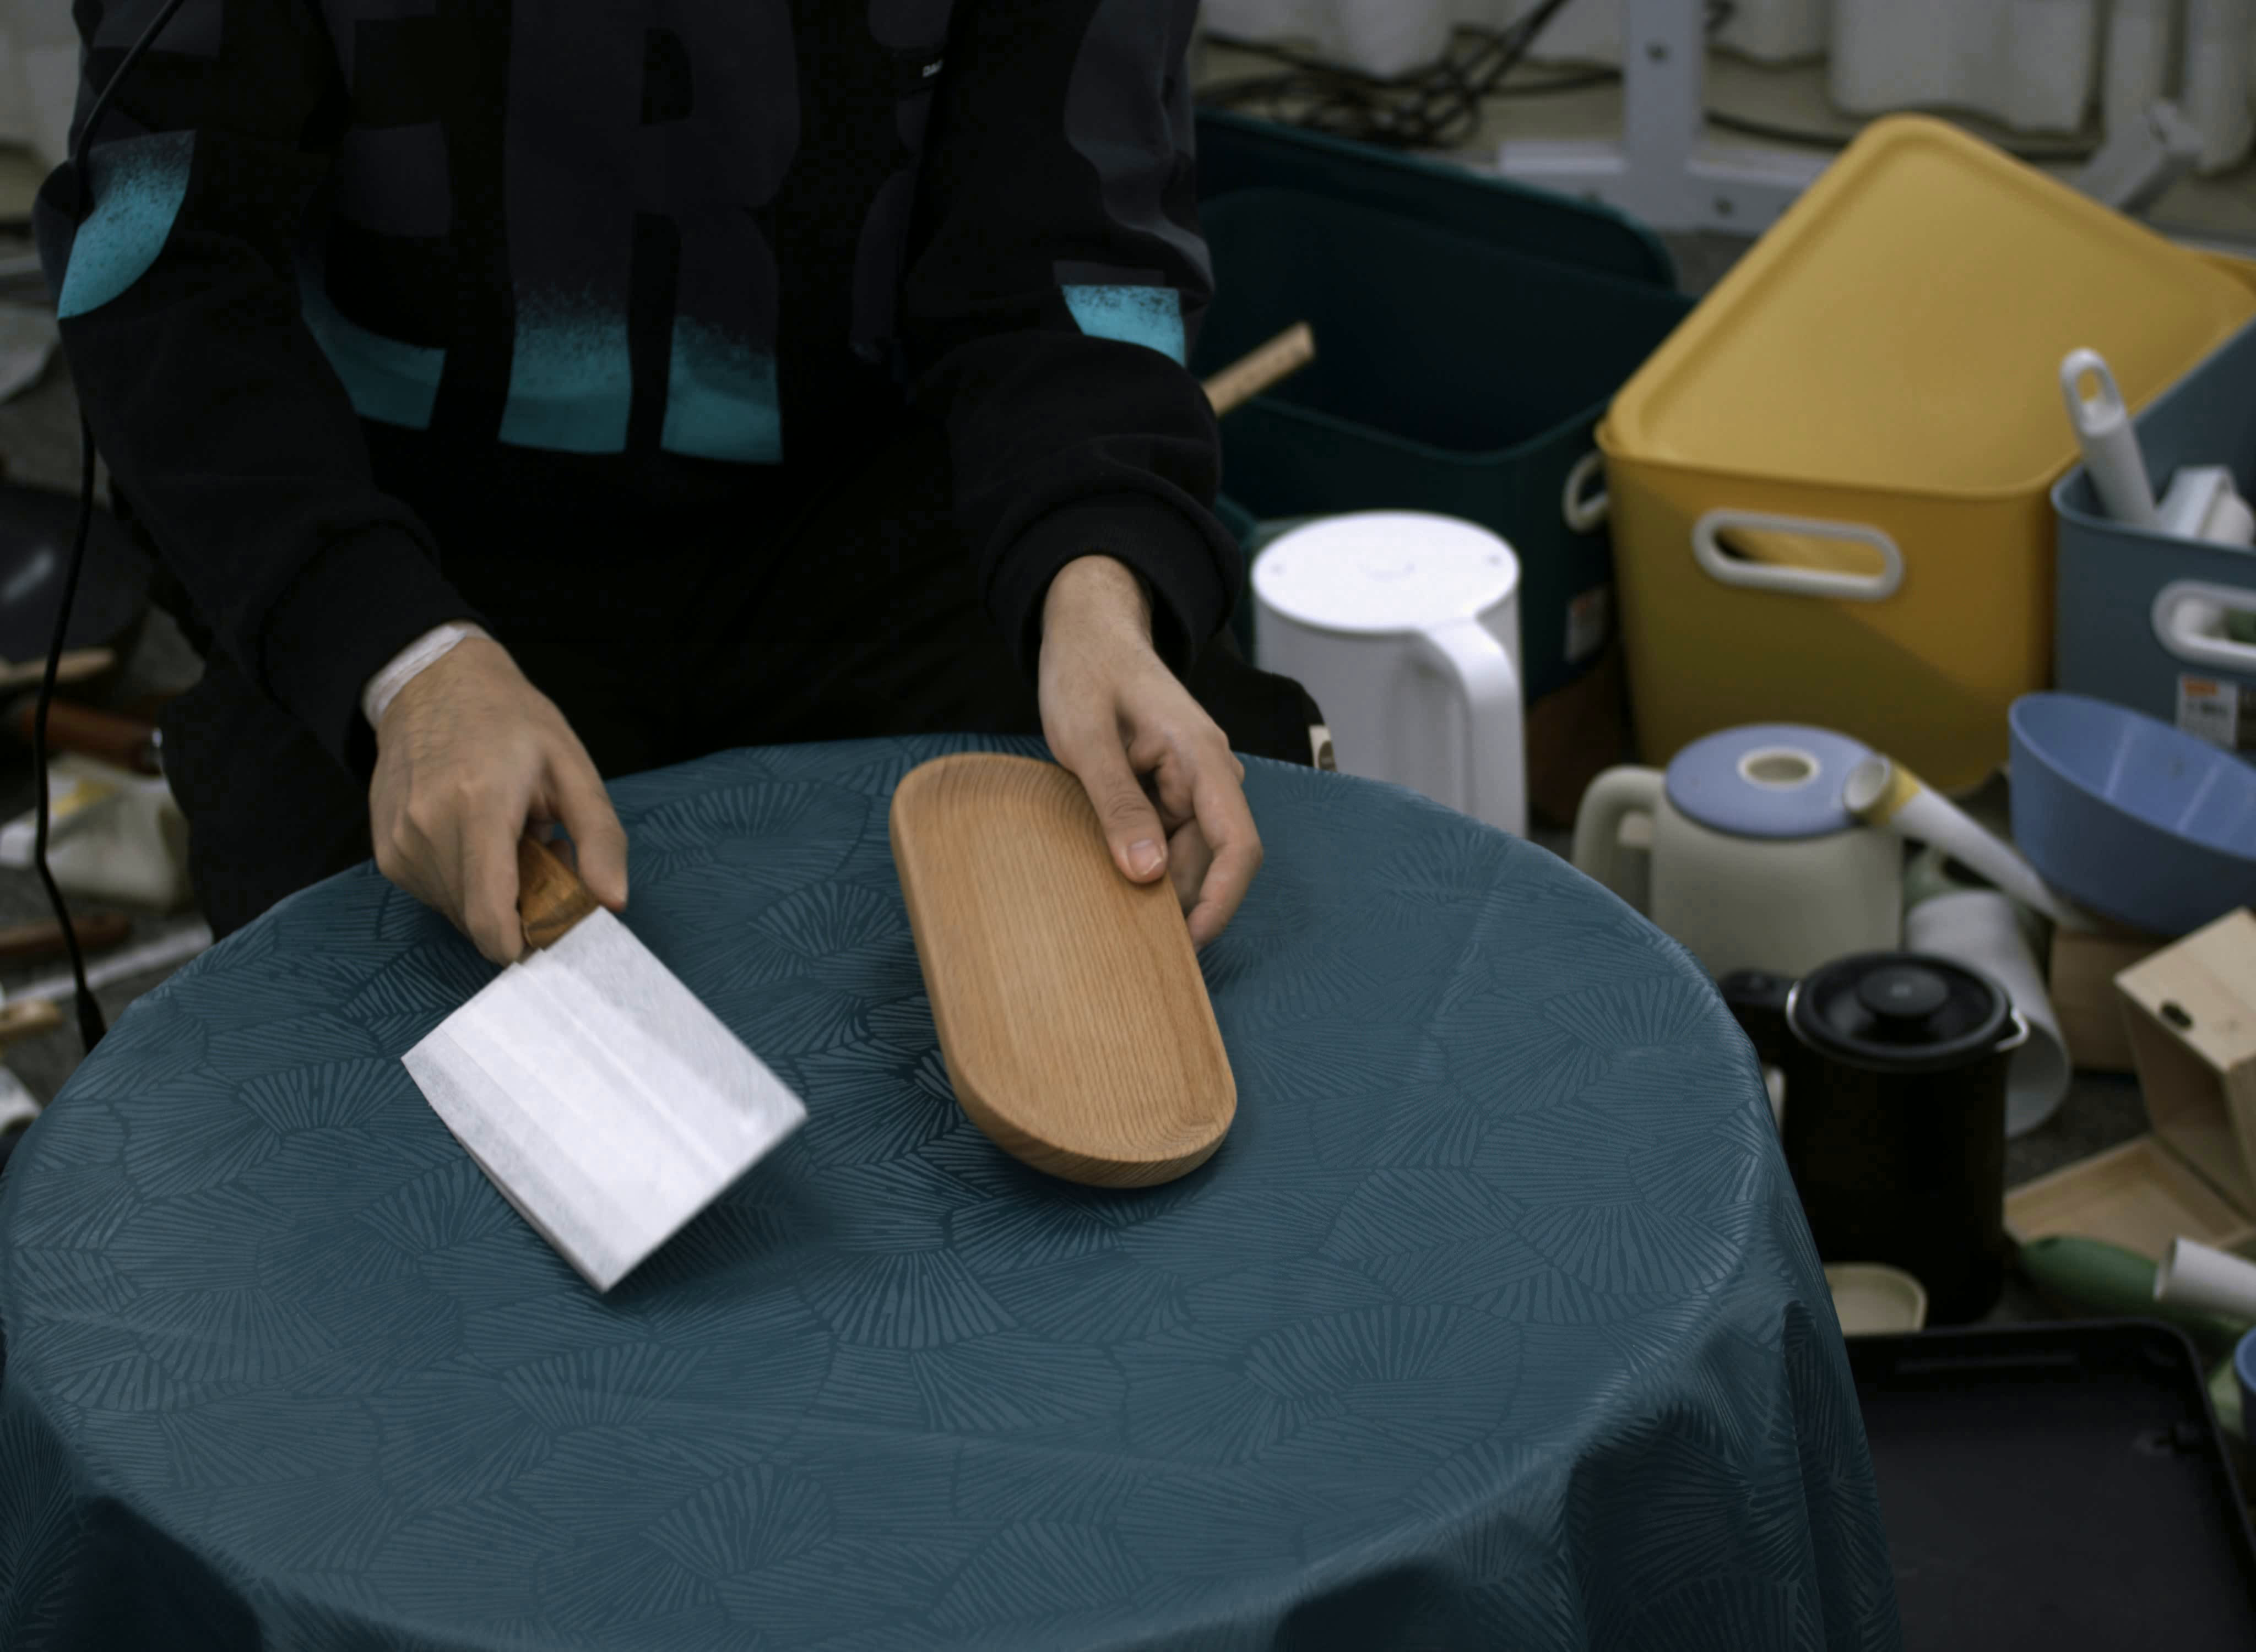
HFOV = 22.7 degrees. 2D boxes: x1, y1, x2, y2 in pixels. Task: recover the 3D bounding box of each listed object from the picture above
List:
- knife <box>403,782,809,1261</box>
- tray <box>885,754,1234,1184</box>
[{"bbox_3d":[-0.203,0.068,1.938,0.093,0.021,0.307,-39,35,-8],"label":"knife"},{"bbox_3d":[-0.026,0.047,1.942,0.101,0.020,0.235,6,33,-16],"label":"tray"}]
